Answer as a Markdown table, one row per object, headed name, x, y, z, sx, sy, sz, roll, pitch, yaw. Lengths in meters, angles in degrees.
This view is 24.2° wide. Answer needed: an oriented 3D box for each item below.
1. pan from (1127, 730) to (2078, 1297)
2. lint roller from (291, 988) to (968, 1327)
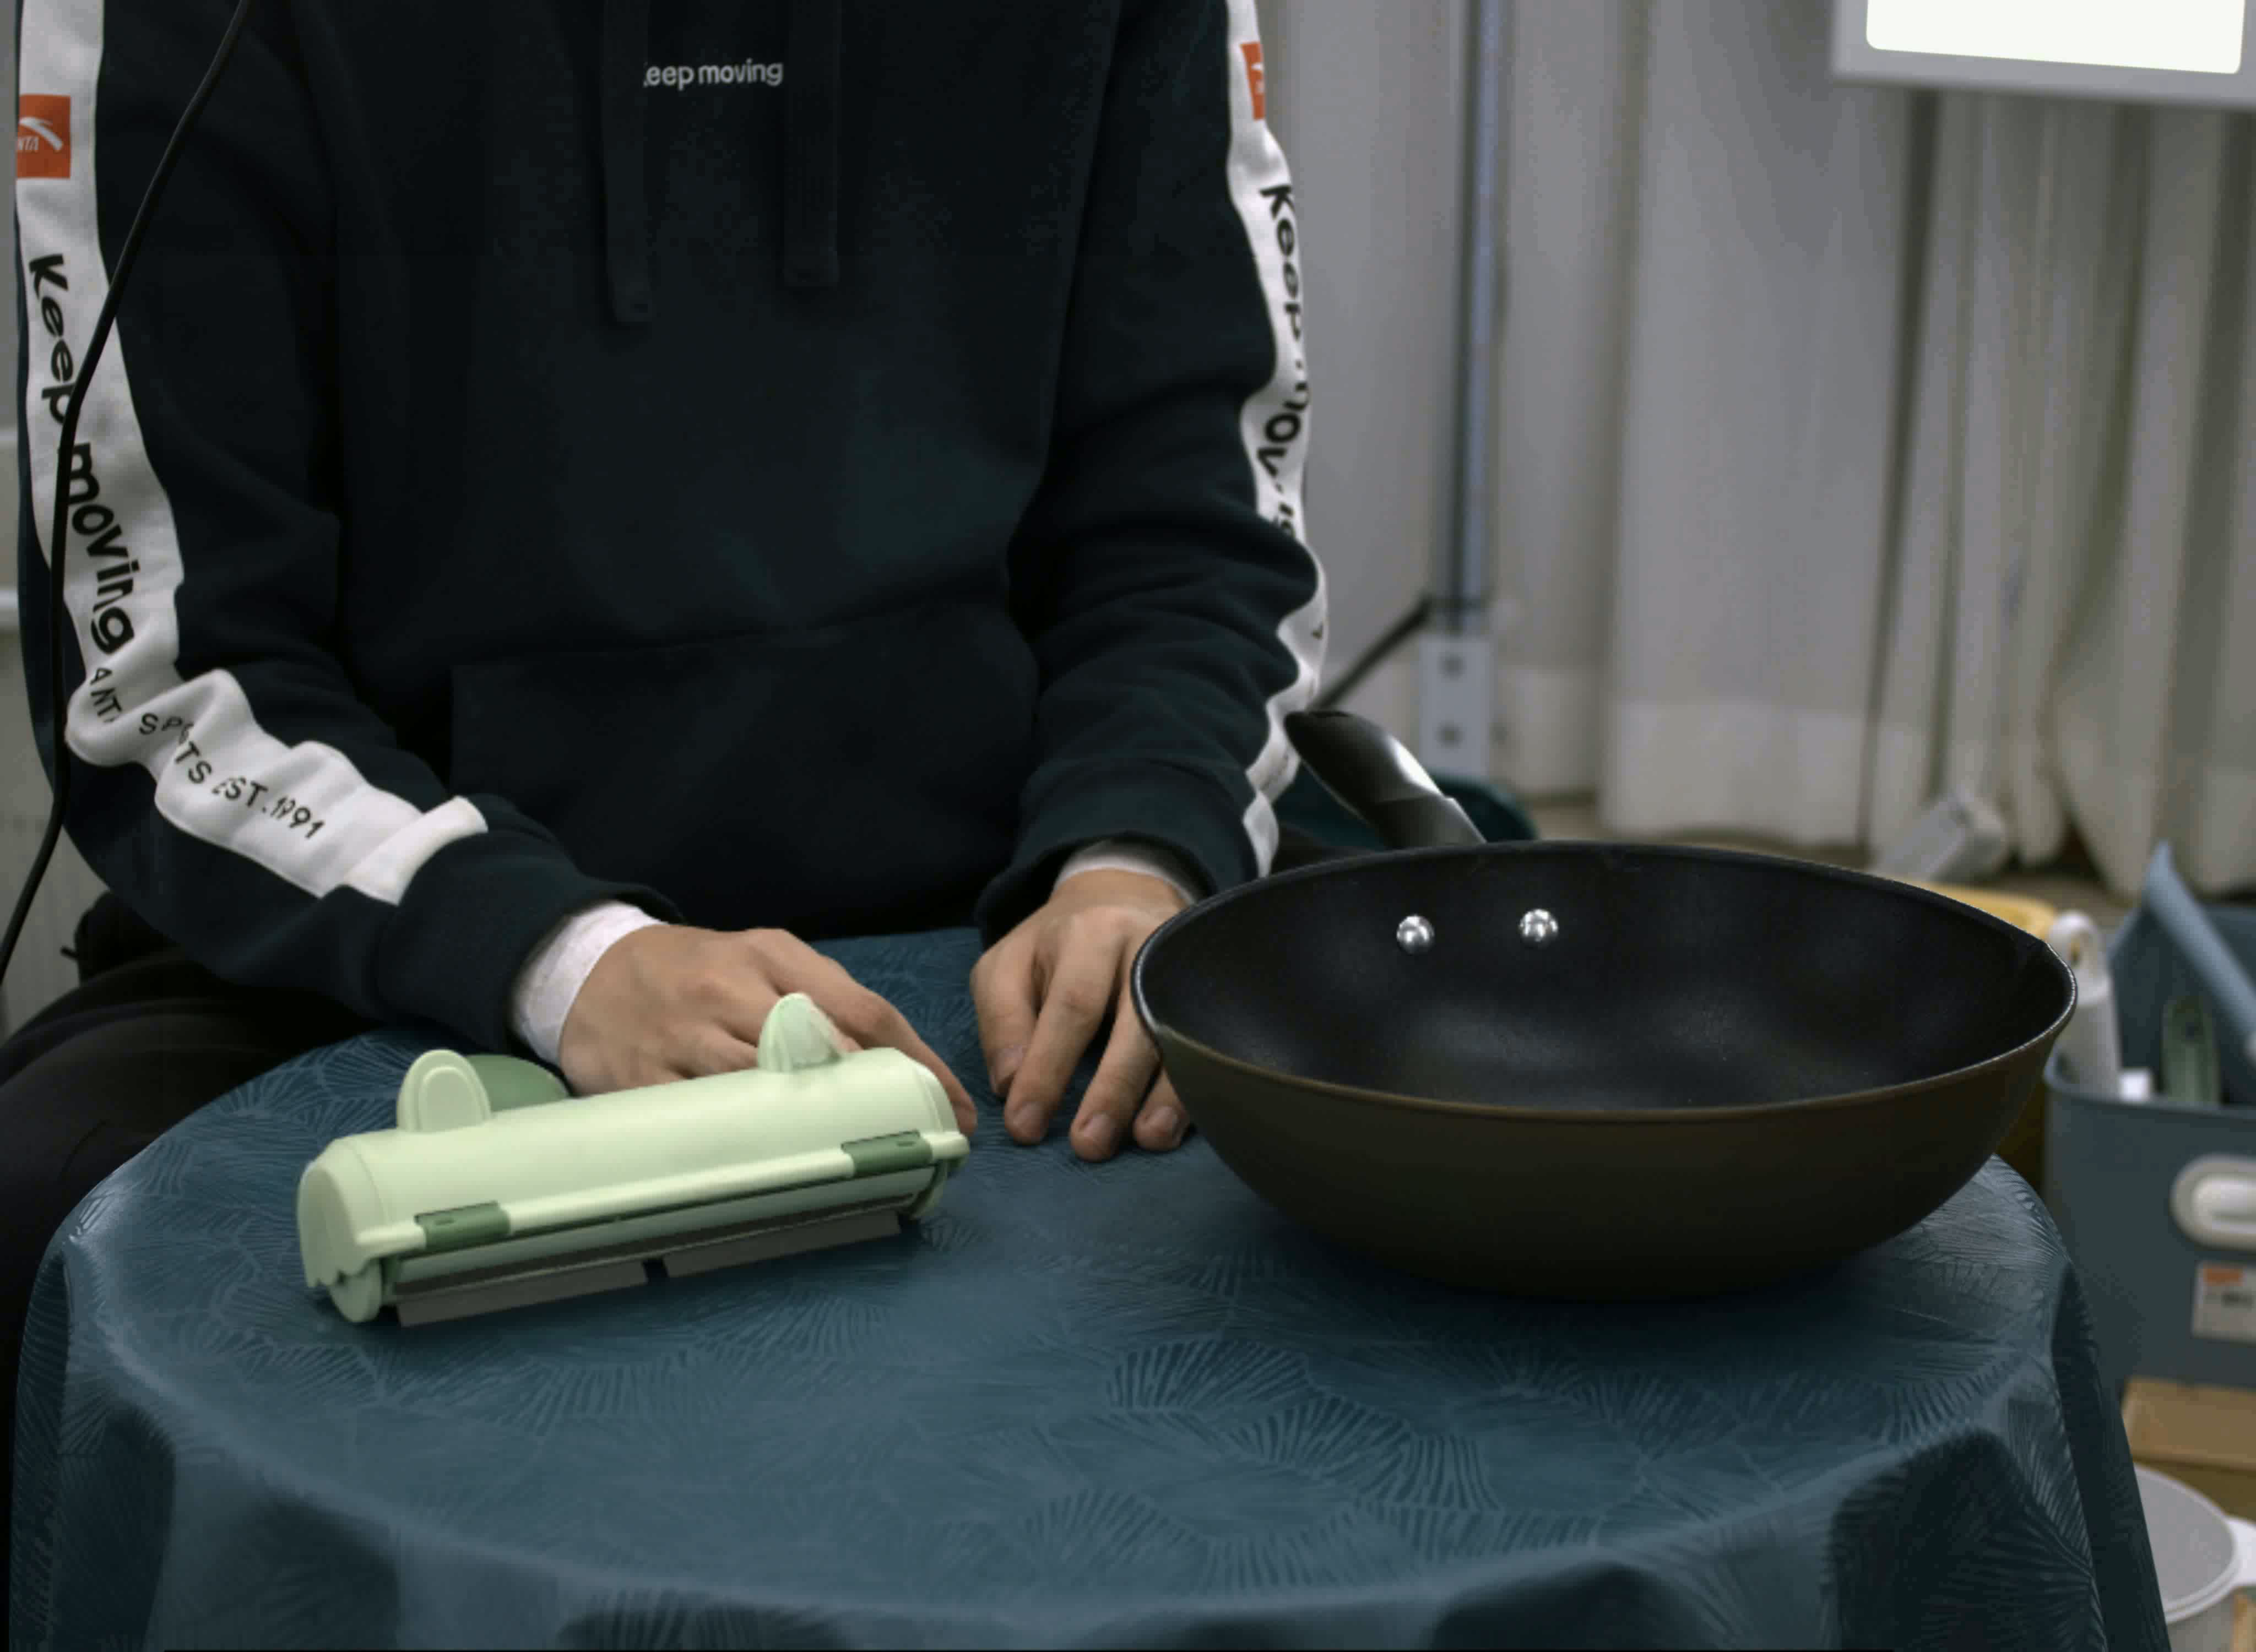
| name | x | y | z | sx | sy | sz | roll | pitch | yaw |
| --- | --- | --- | --- | --- | --- | --- | --- | --- | --- |
| pan | 0.118 | 0.057 | 1.668 | 0.288 | 0.087 | 0.459 | -3 | 15 | -14 |
| lint roller | -0.172 | 0.080 | 1.588 | 0.199 | 0.083 | 0.181 | -9 | 23 | -28 |
